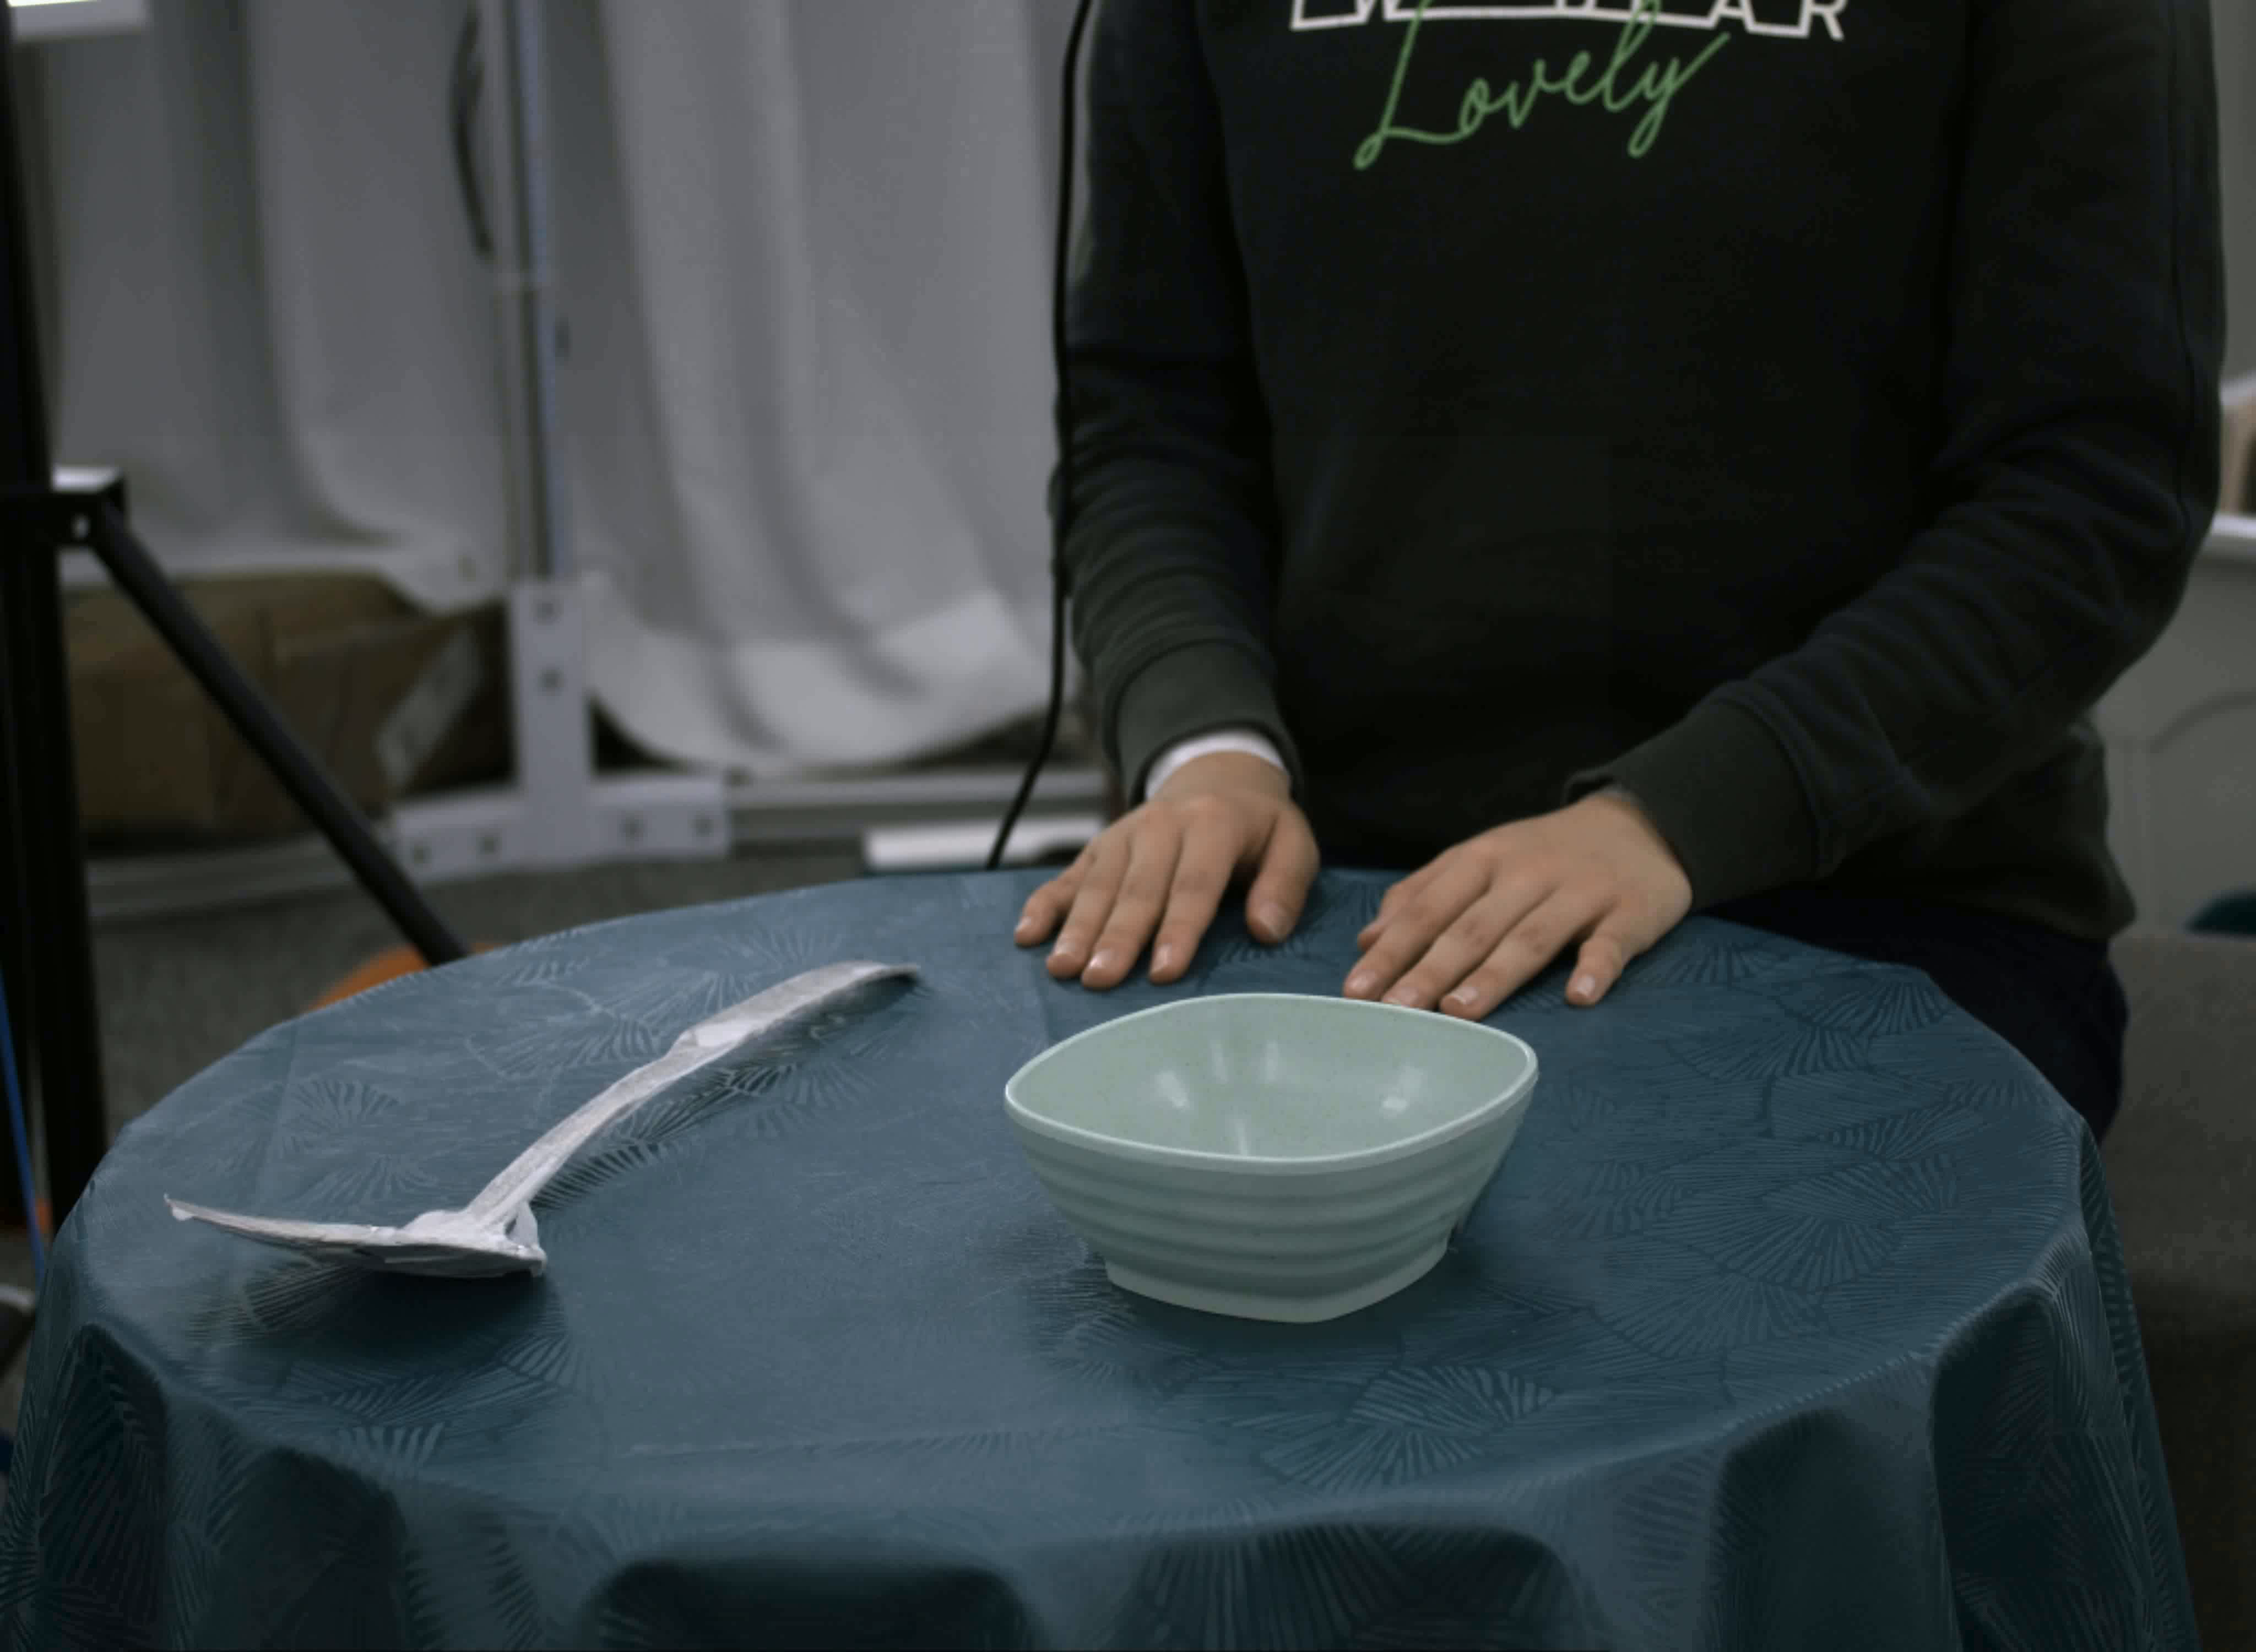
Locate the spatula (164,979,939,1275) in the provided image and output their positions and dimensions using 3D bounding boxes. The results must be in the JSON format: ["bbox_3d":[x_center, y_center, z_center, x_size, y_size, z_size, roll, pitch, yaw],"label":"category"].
[{"bbox_3d":[-0.152,0.081,1.609,0.100,0.045,0.359,3,17,26],"label":"spatula"}]

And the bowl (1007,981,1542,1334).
[{"bbox_3d":[0.042,0.097,1.489,0.150,0.058,0.152,-2,18,-1],"label":"bowl"}]
